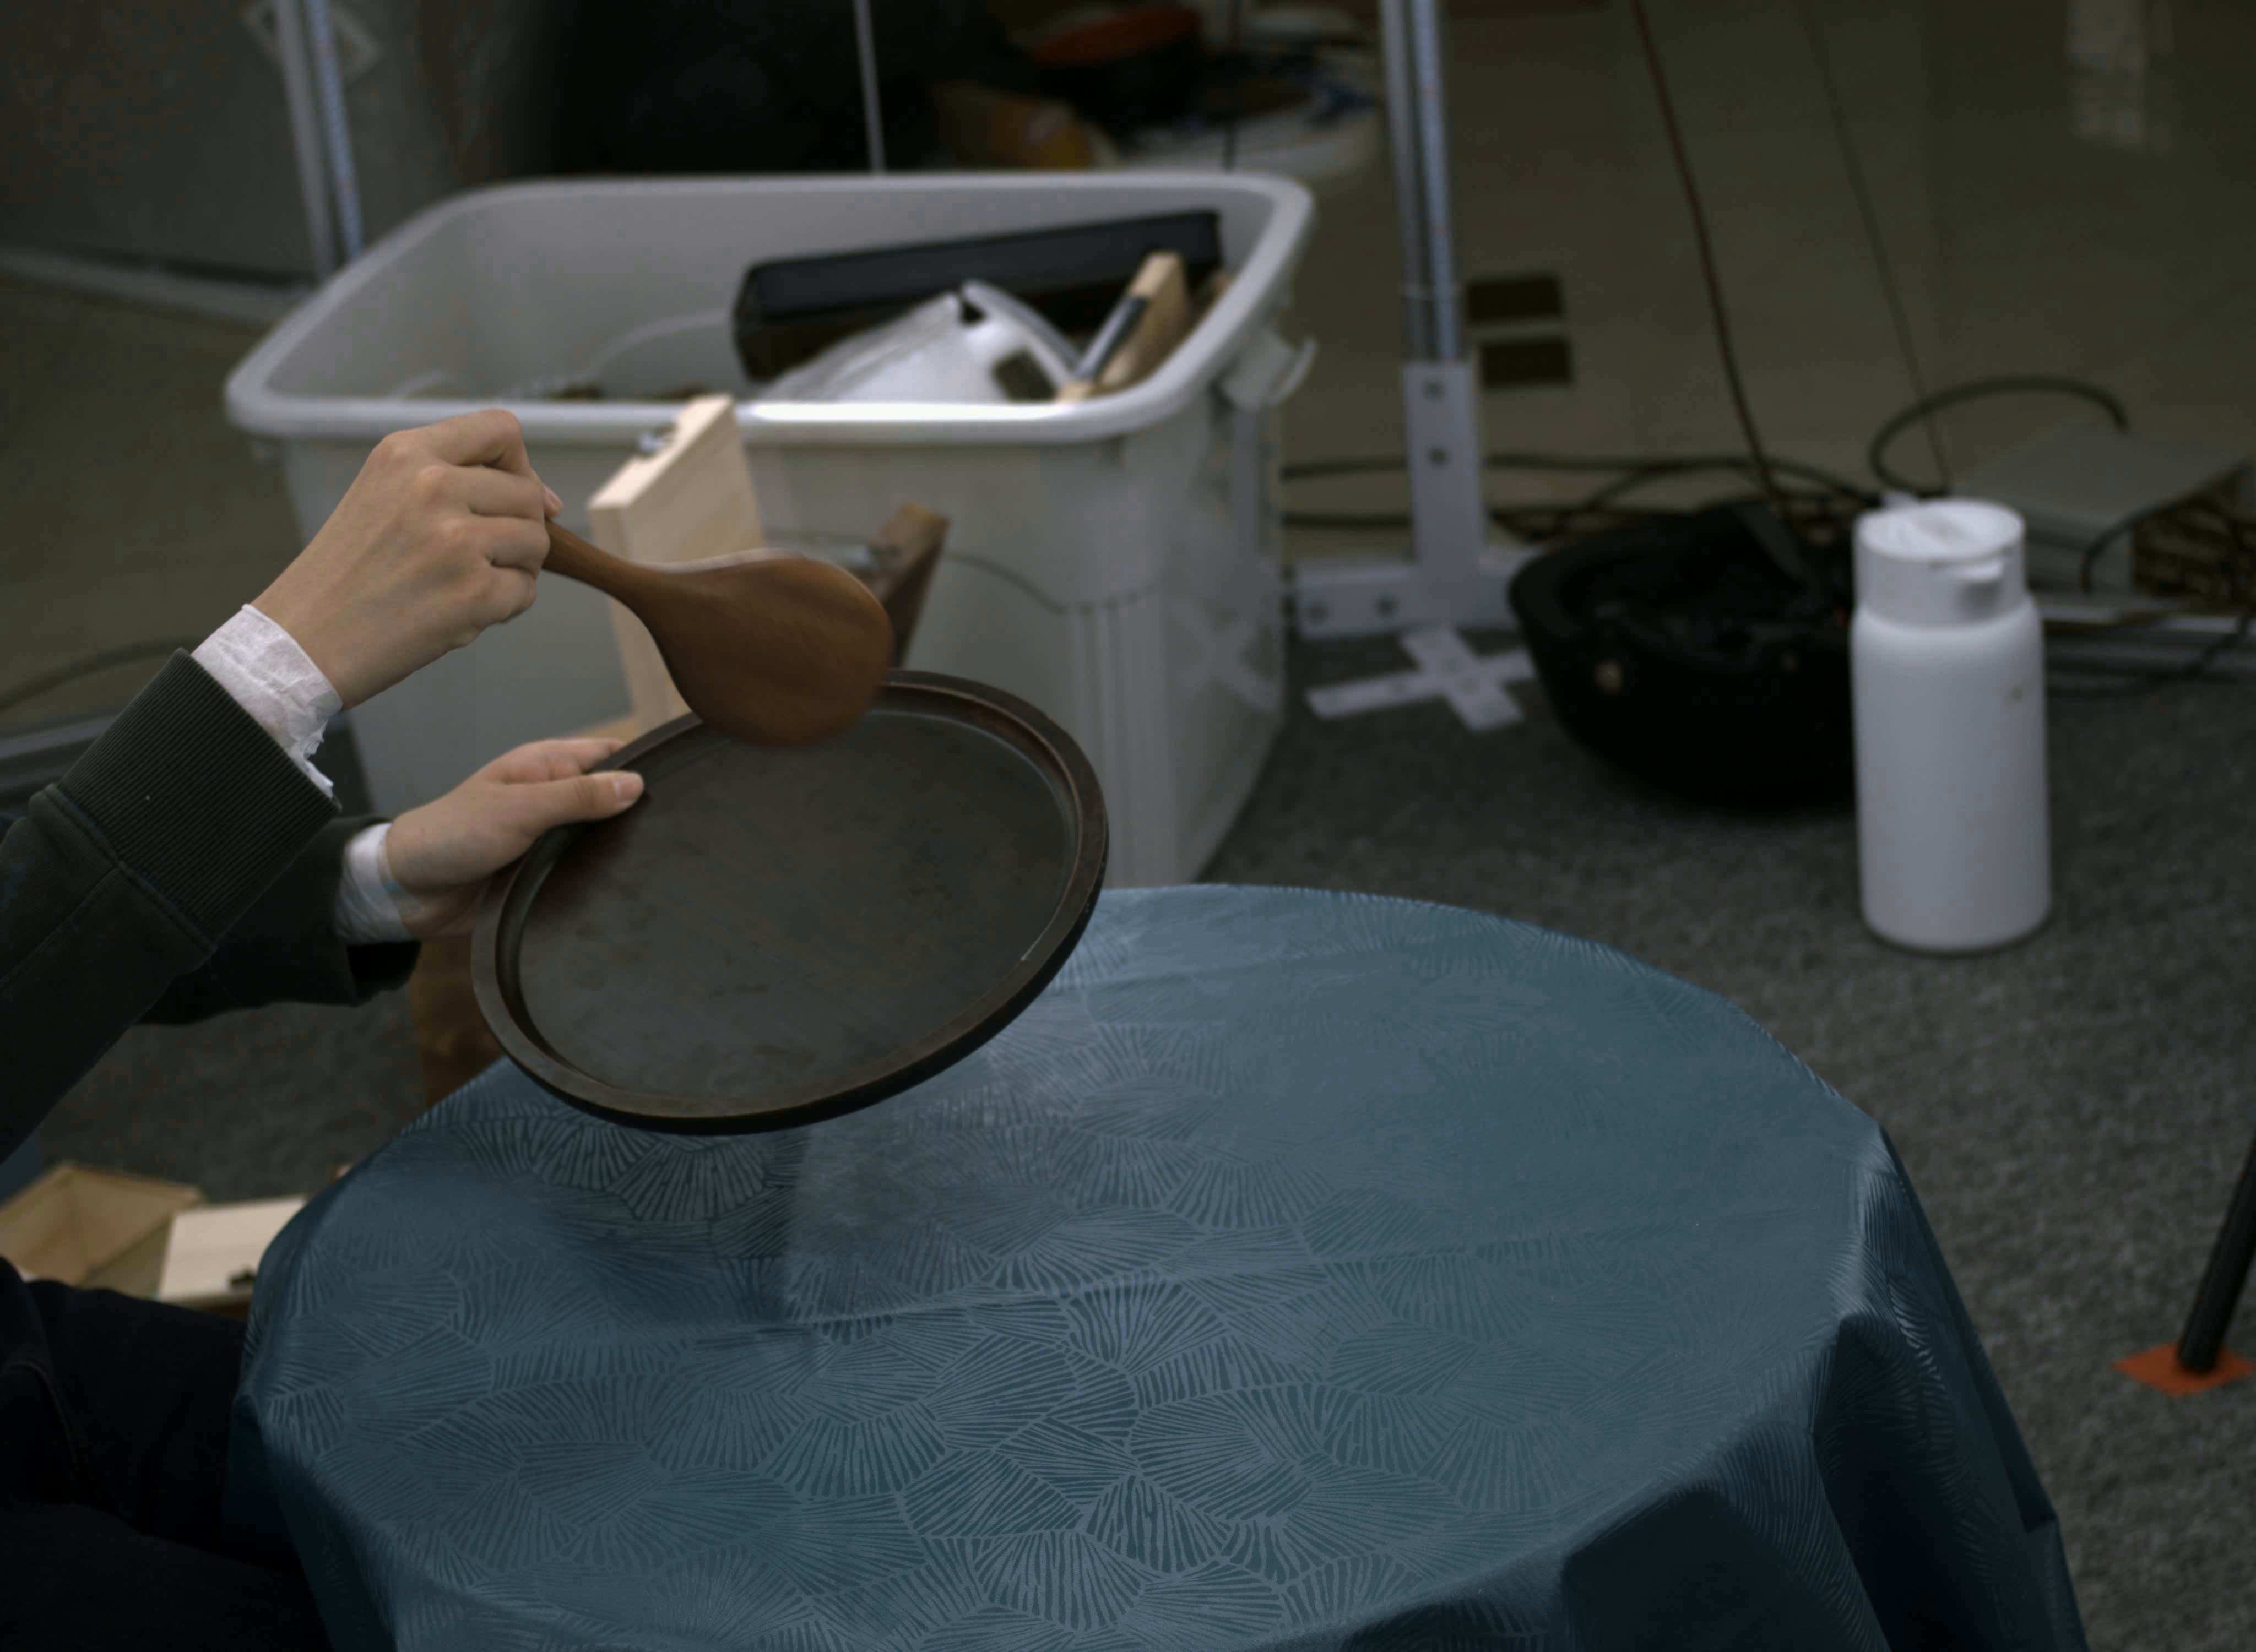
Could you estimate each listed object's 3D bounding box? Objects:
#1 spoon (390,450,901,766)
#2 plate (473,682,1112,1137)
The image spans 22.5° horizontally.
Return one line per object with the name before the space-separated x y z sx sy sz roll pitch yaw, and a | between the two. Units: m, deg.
spoon | -0.166 -0.078 1.965 0.217 0.076 0.017 27 17 -34
plate | -0.128 0.030 2.171 0.254 0.029 0.250 -9 40 8
